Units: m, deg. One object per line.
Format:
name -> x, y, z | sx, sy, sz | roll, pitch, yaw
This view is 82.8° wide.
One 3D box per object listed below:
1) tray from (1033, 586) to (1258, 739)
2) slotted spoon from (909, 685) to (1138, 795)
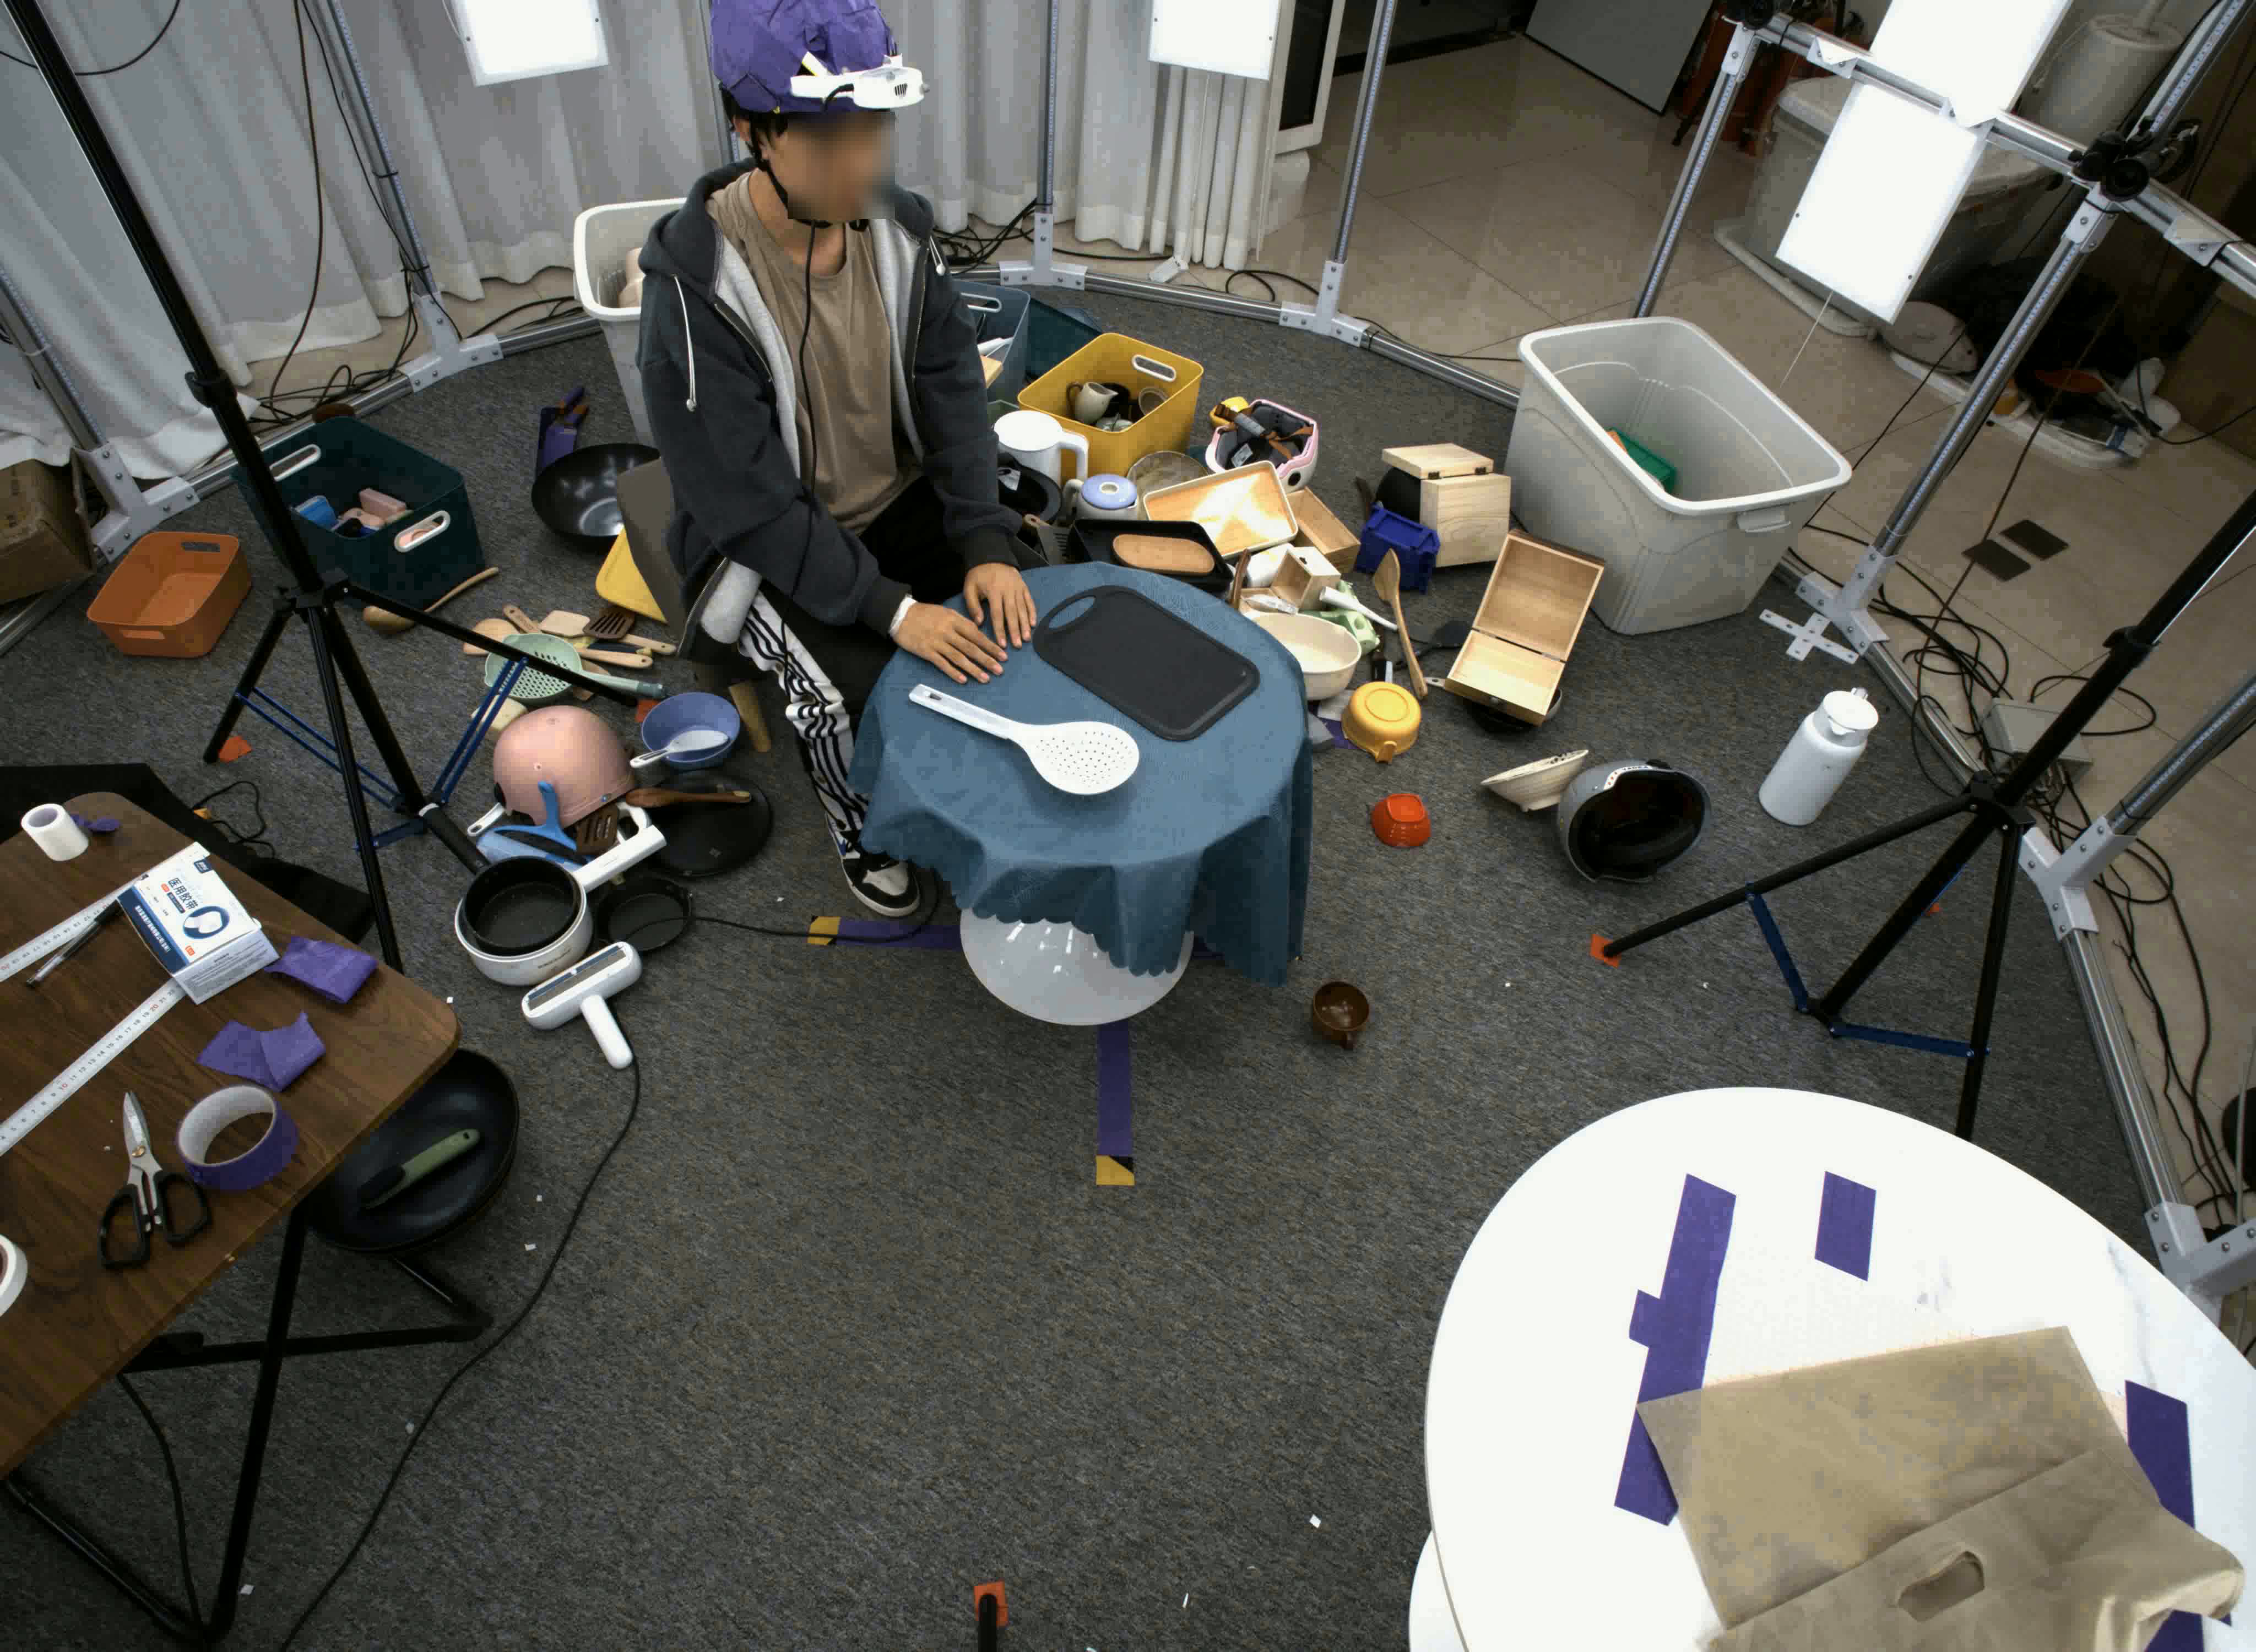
tray -> 0.018, -0.249, 1.880 | 0.330, 0.009, 0.213 | 36, 55, 24
slotted spoon -> -0.149, -0.124, 1.734 | 0.352, 0.044, 0.138 | 25, 50, 18
